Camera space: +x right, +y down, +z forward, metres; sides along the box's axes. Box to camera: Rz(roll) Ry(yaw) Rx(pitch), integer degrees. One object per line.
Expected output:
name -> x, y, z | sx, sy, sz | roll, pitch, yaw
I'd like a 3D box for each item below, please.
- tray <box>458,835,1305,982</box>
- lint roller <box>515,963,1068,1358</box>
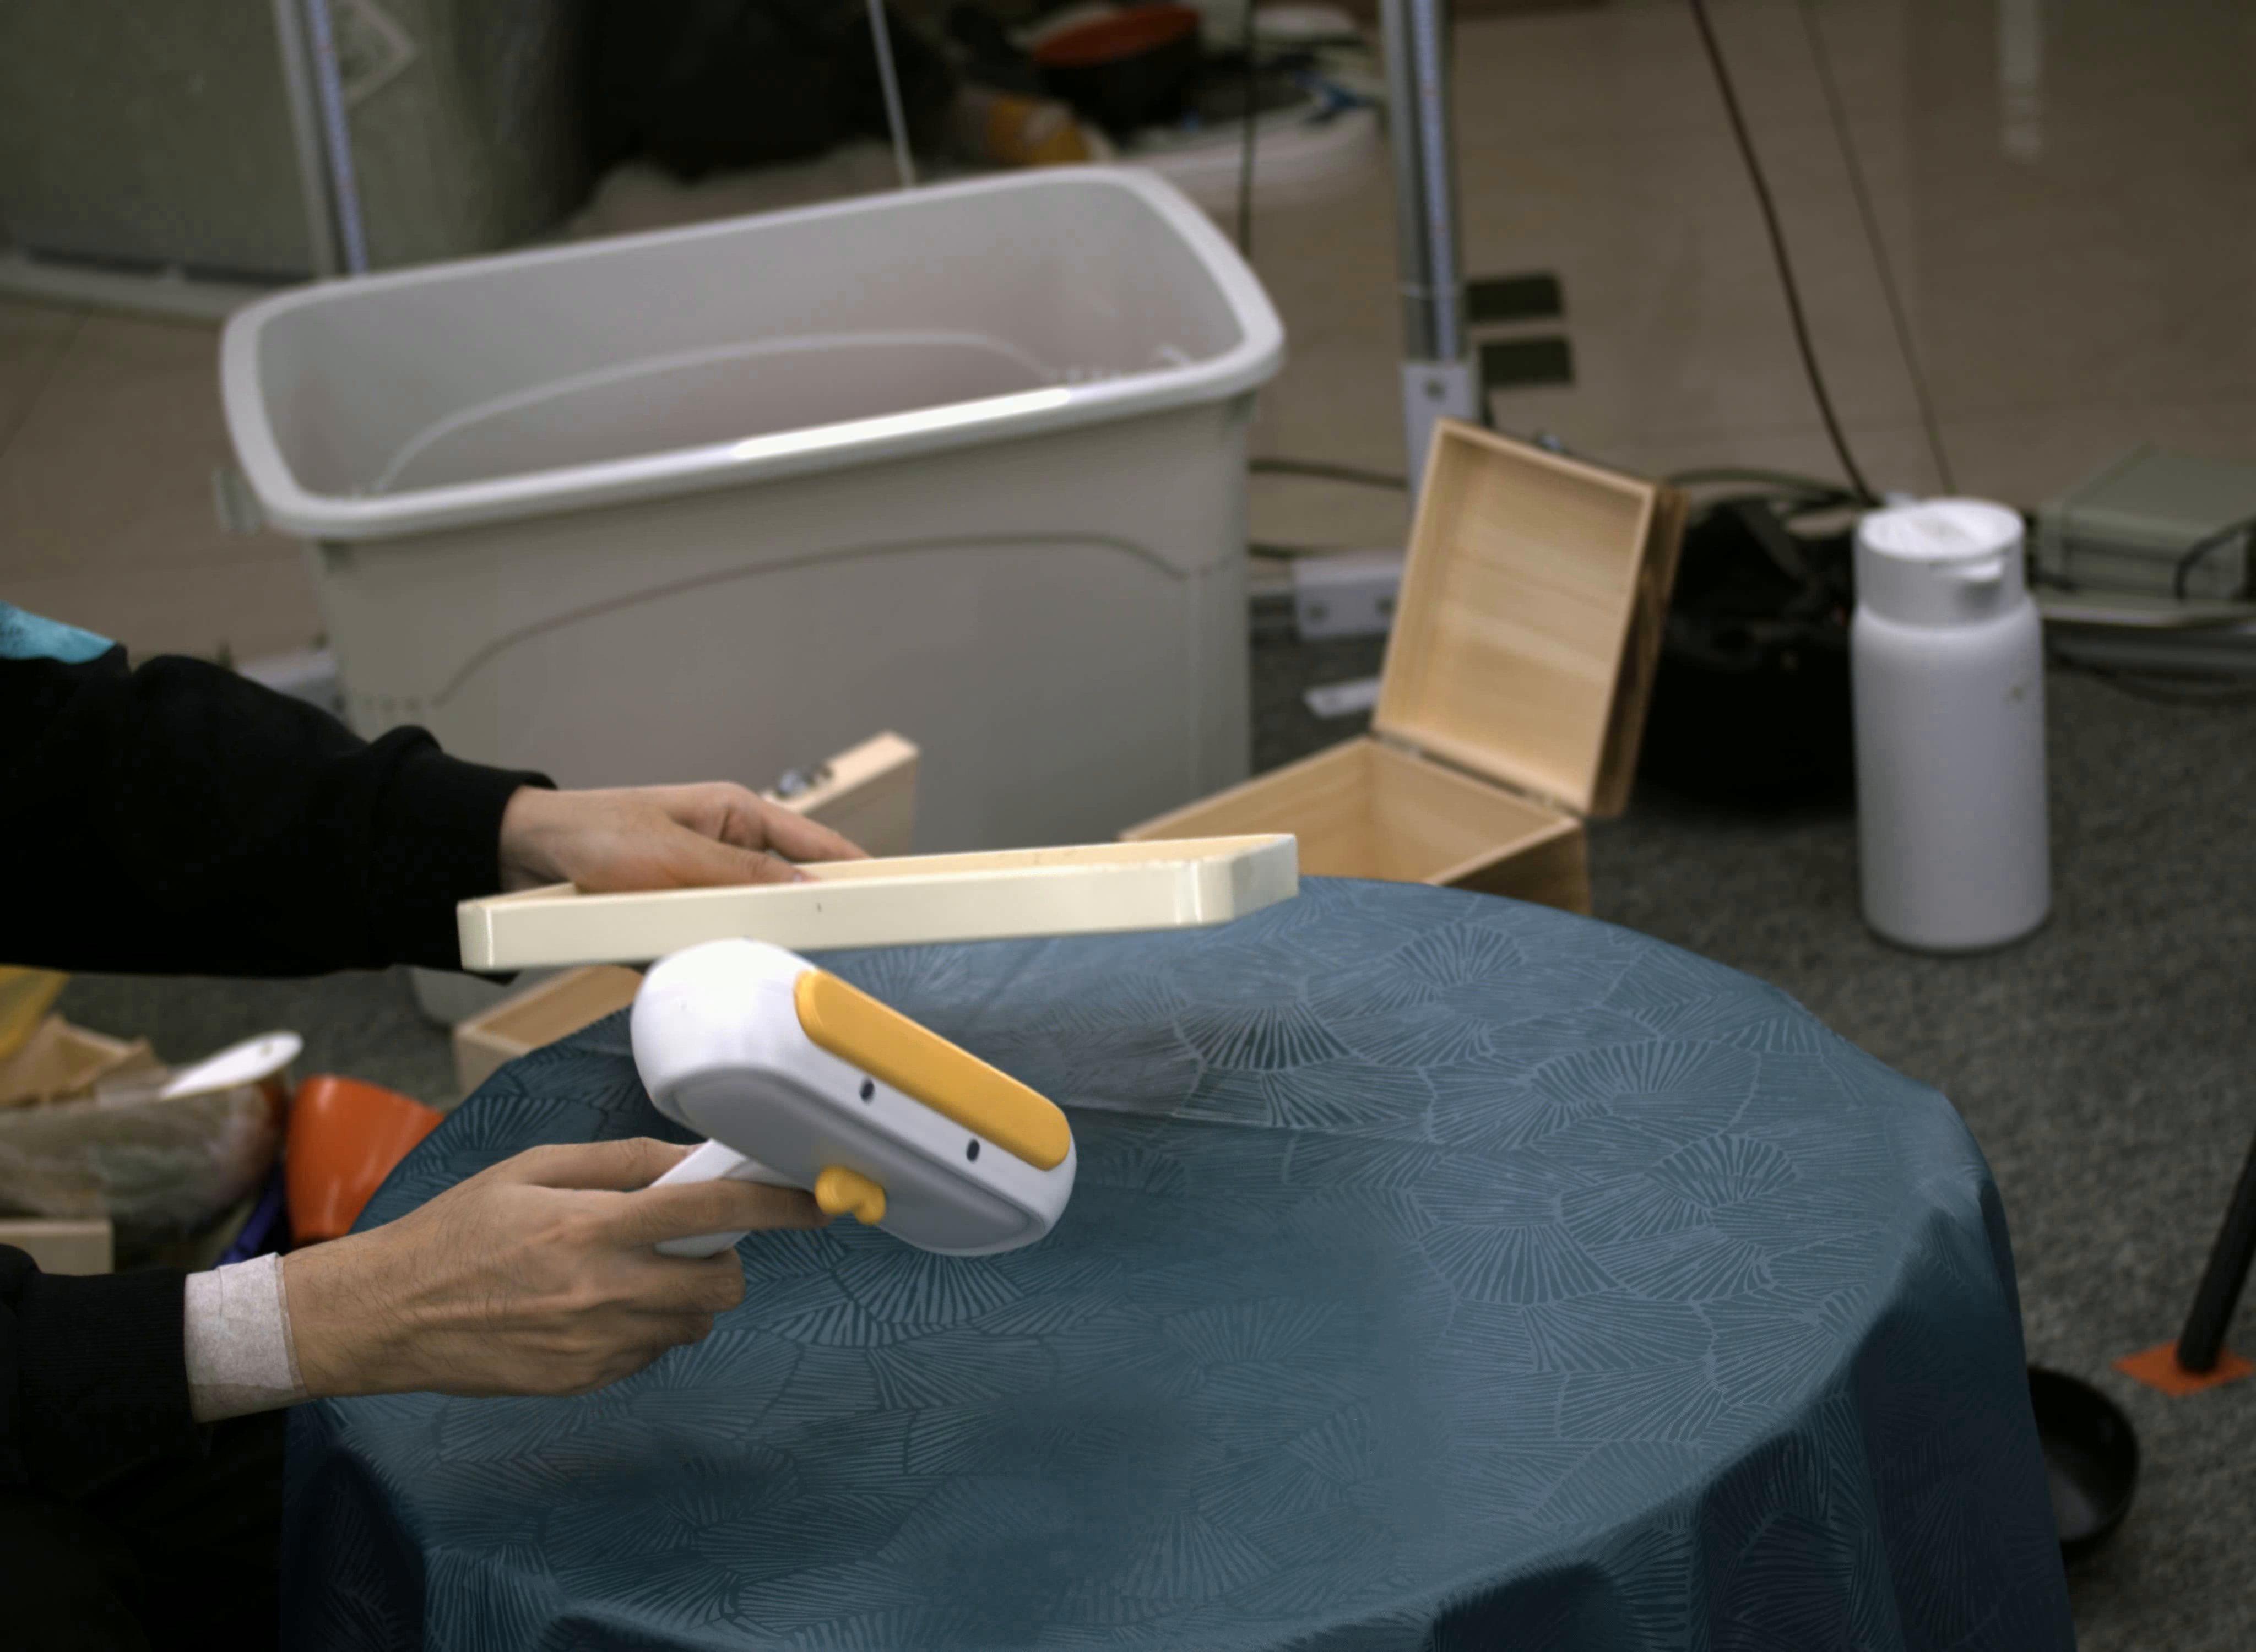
tray -> -0.091, 0.031, 2.190 | 0.300, 0.027, 0.191 | -4, 2, 12
lint roller -> -0.140, 0.124, 1.959 | 0.193, 0.073, 0.194 | -26, -30, 31
